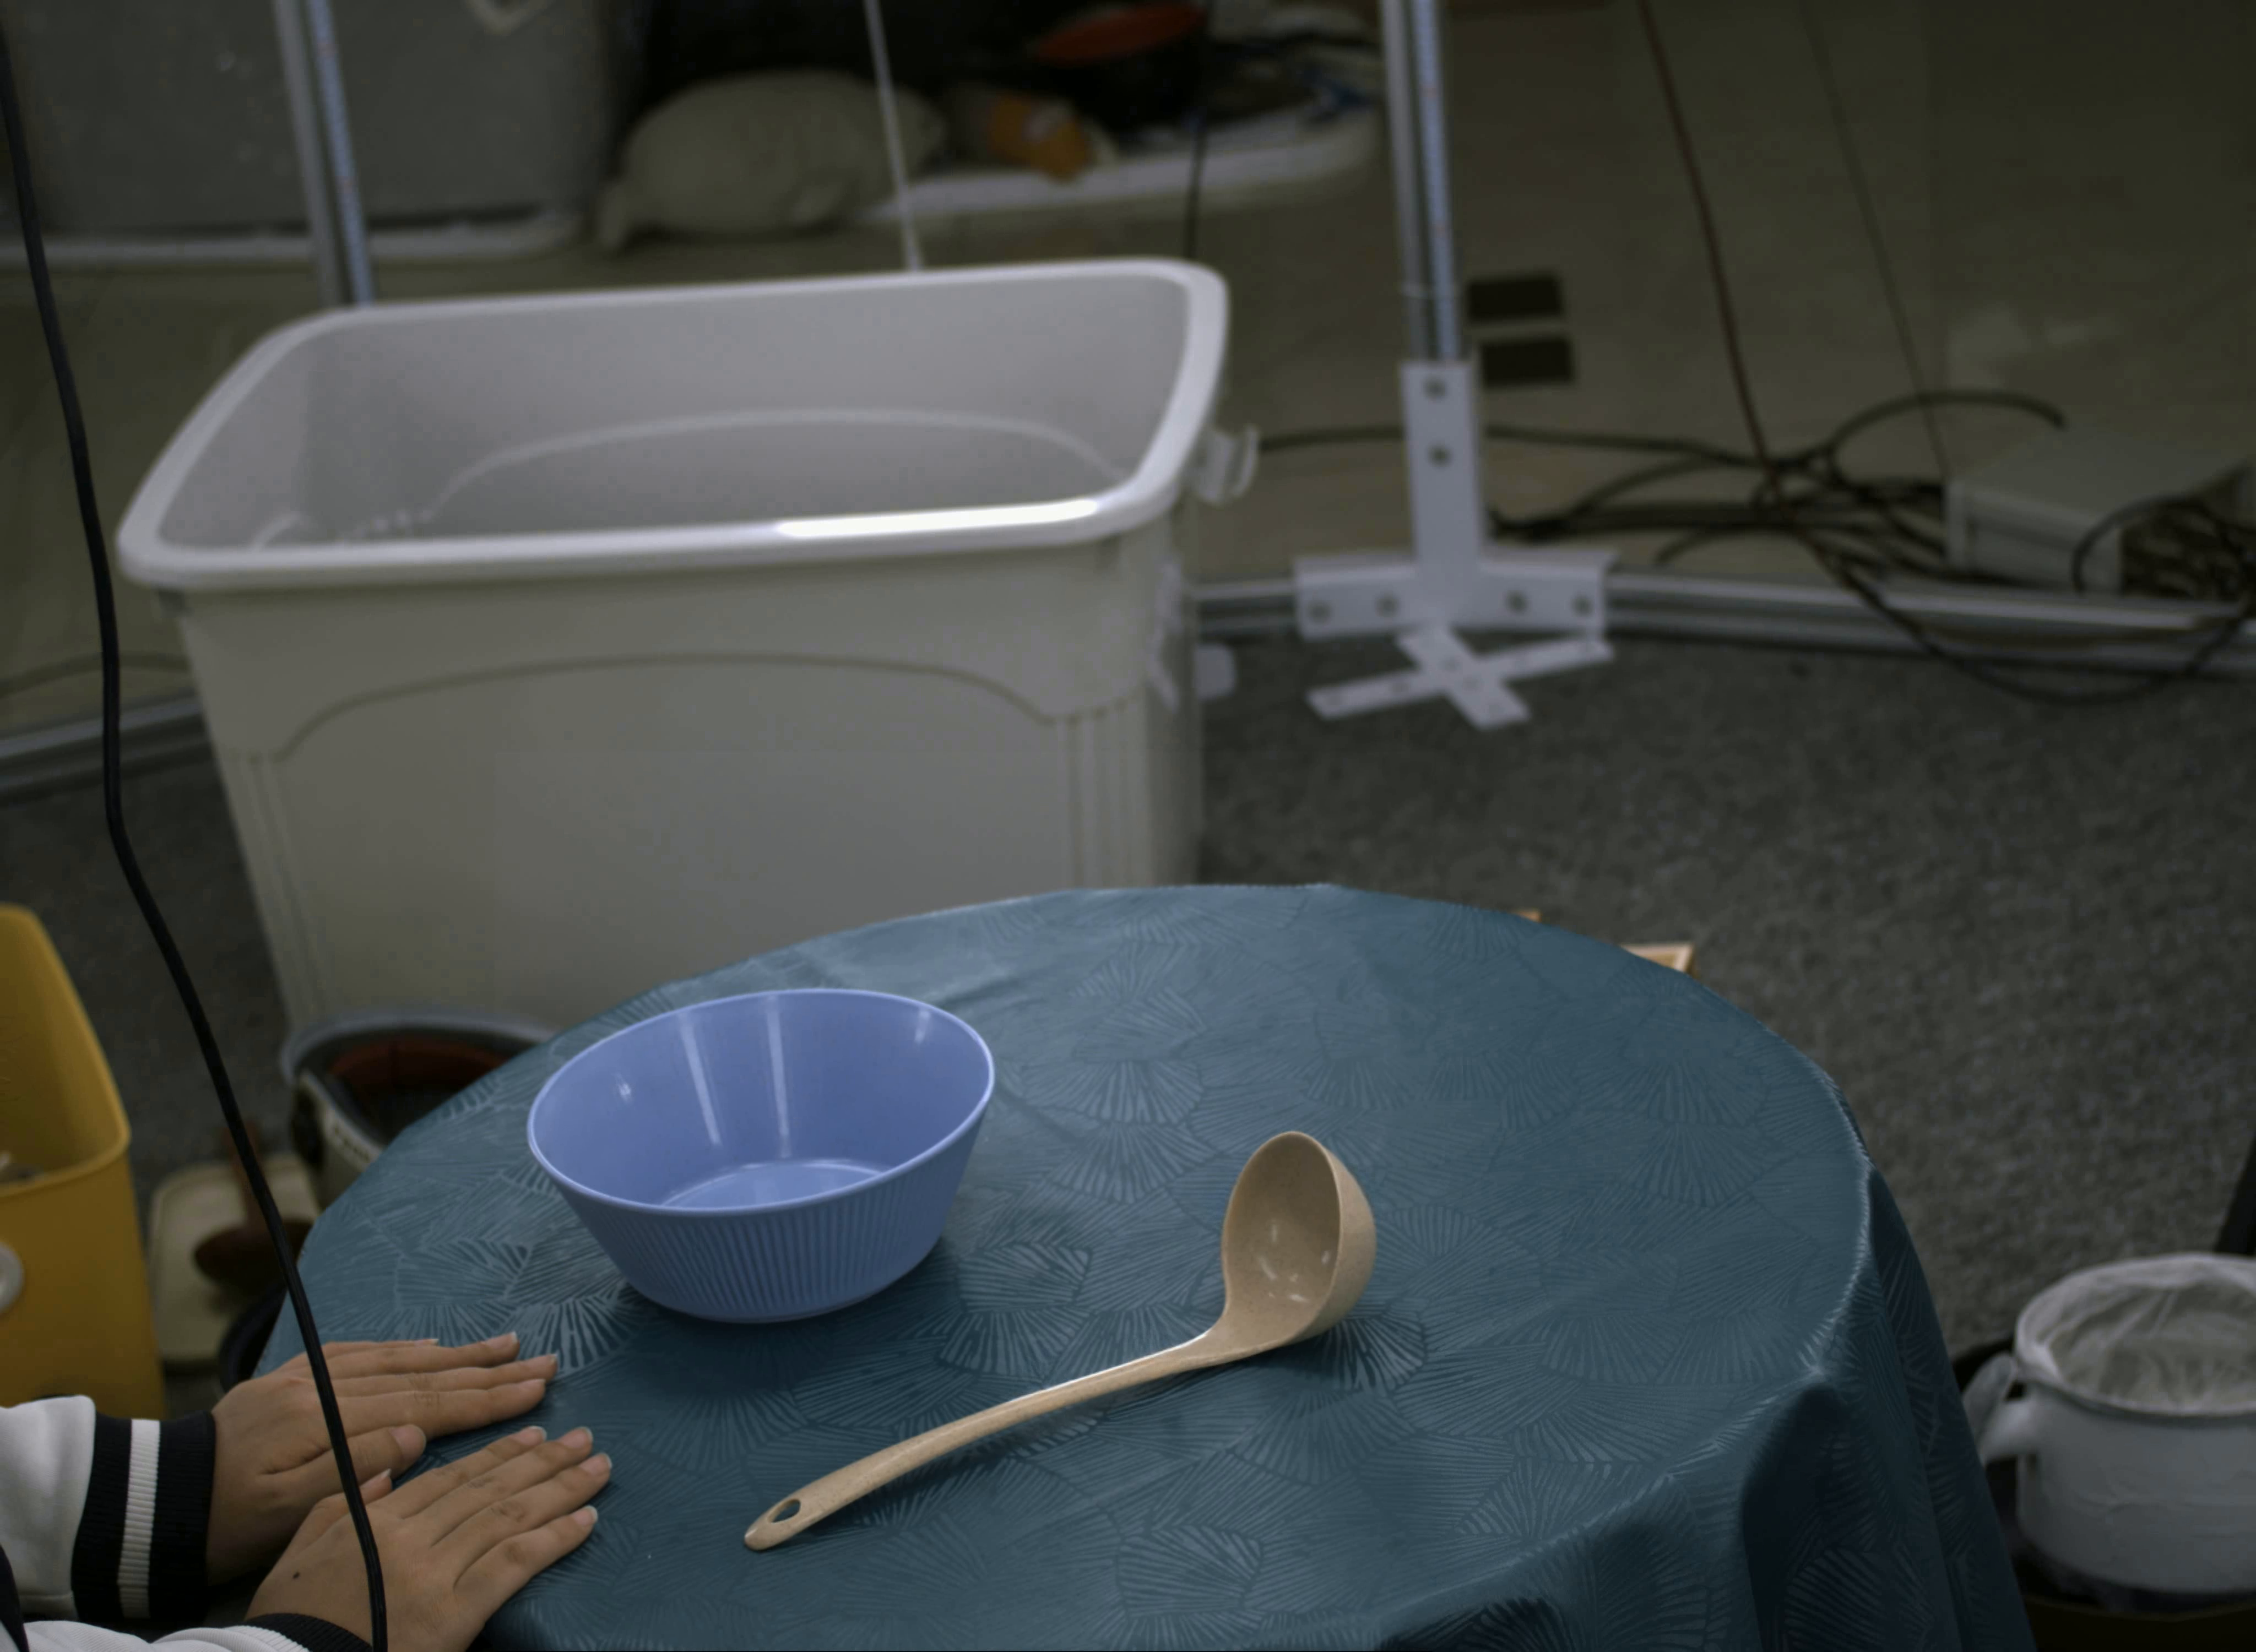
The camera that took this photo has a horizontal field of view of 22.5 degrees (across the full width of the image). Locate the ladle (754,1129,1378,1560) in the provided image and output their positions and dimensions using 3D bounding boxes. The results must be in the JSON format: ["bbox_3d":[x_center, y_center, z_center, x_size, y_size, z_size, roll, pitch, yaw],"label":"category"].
[{"bbox_3d":[-0.026,0.178,1.984,0.253,0.074,0.071,-20,28,-27],"label":"ladle"}]

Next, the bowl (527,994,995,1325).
[{"bbox_3d":[-0.133,0.130,2.116,0.176,0.071,0.173,-6,24,3],"label":"bowl"}]
